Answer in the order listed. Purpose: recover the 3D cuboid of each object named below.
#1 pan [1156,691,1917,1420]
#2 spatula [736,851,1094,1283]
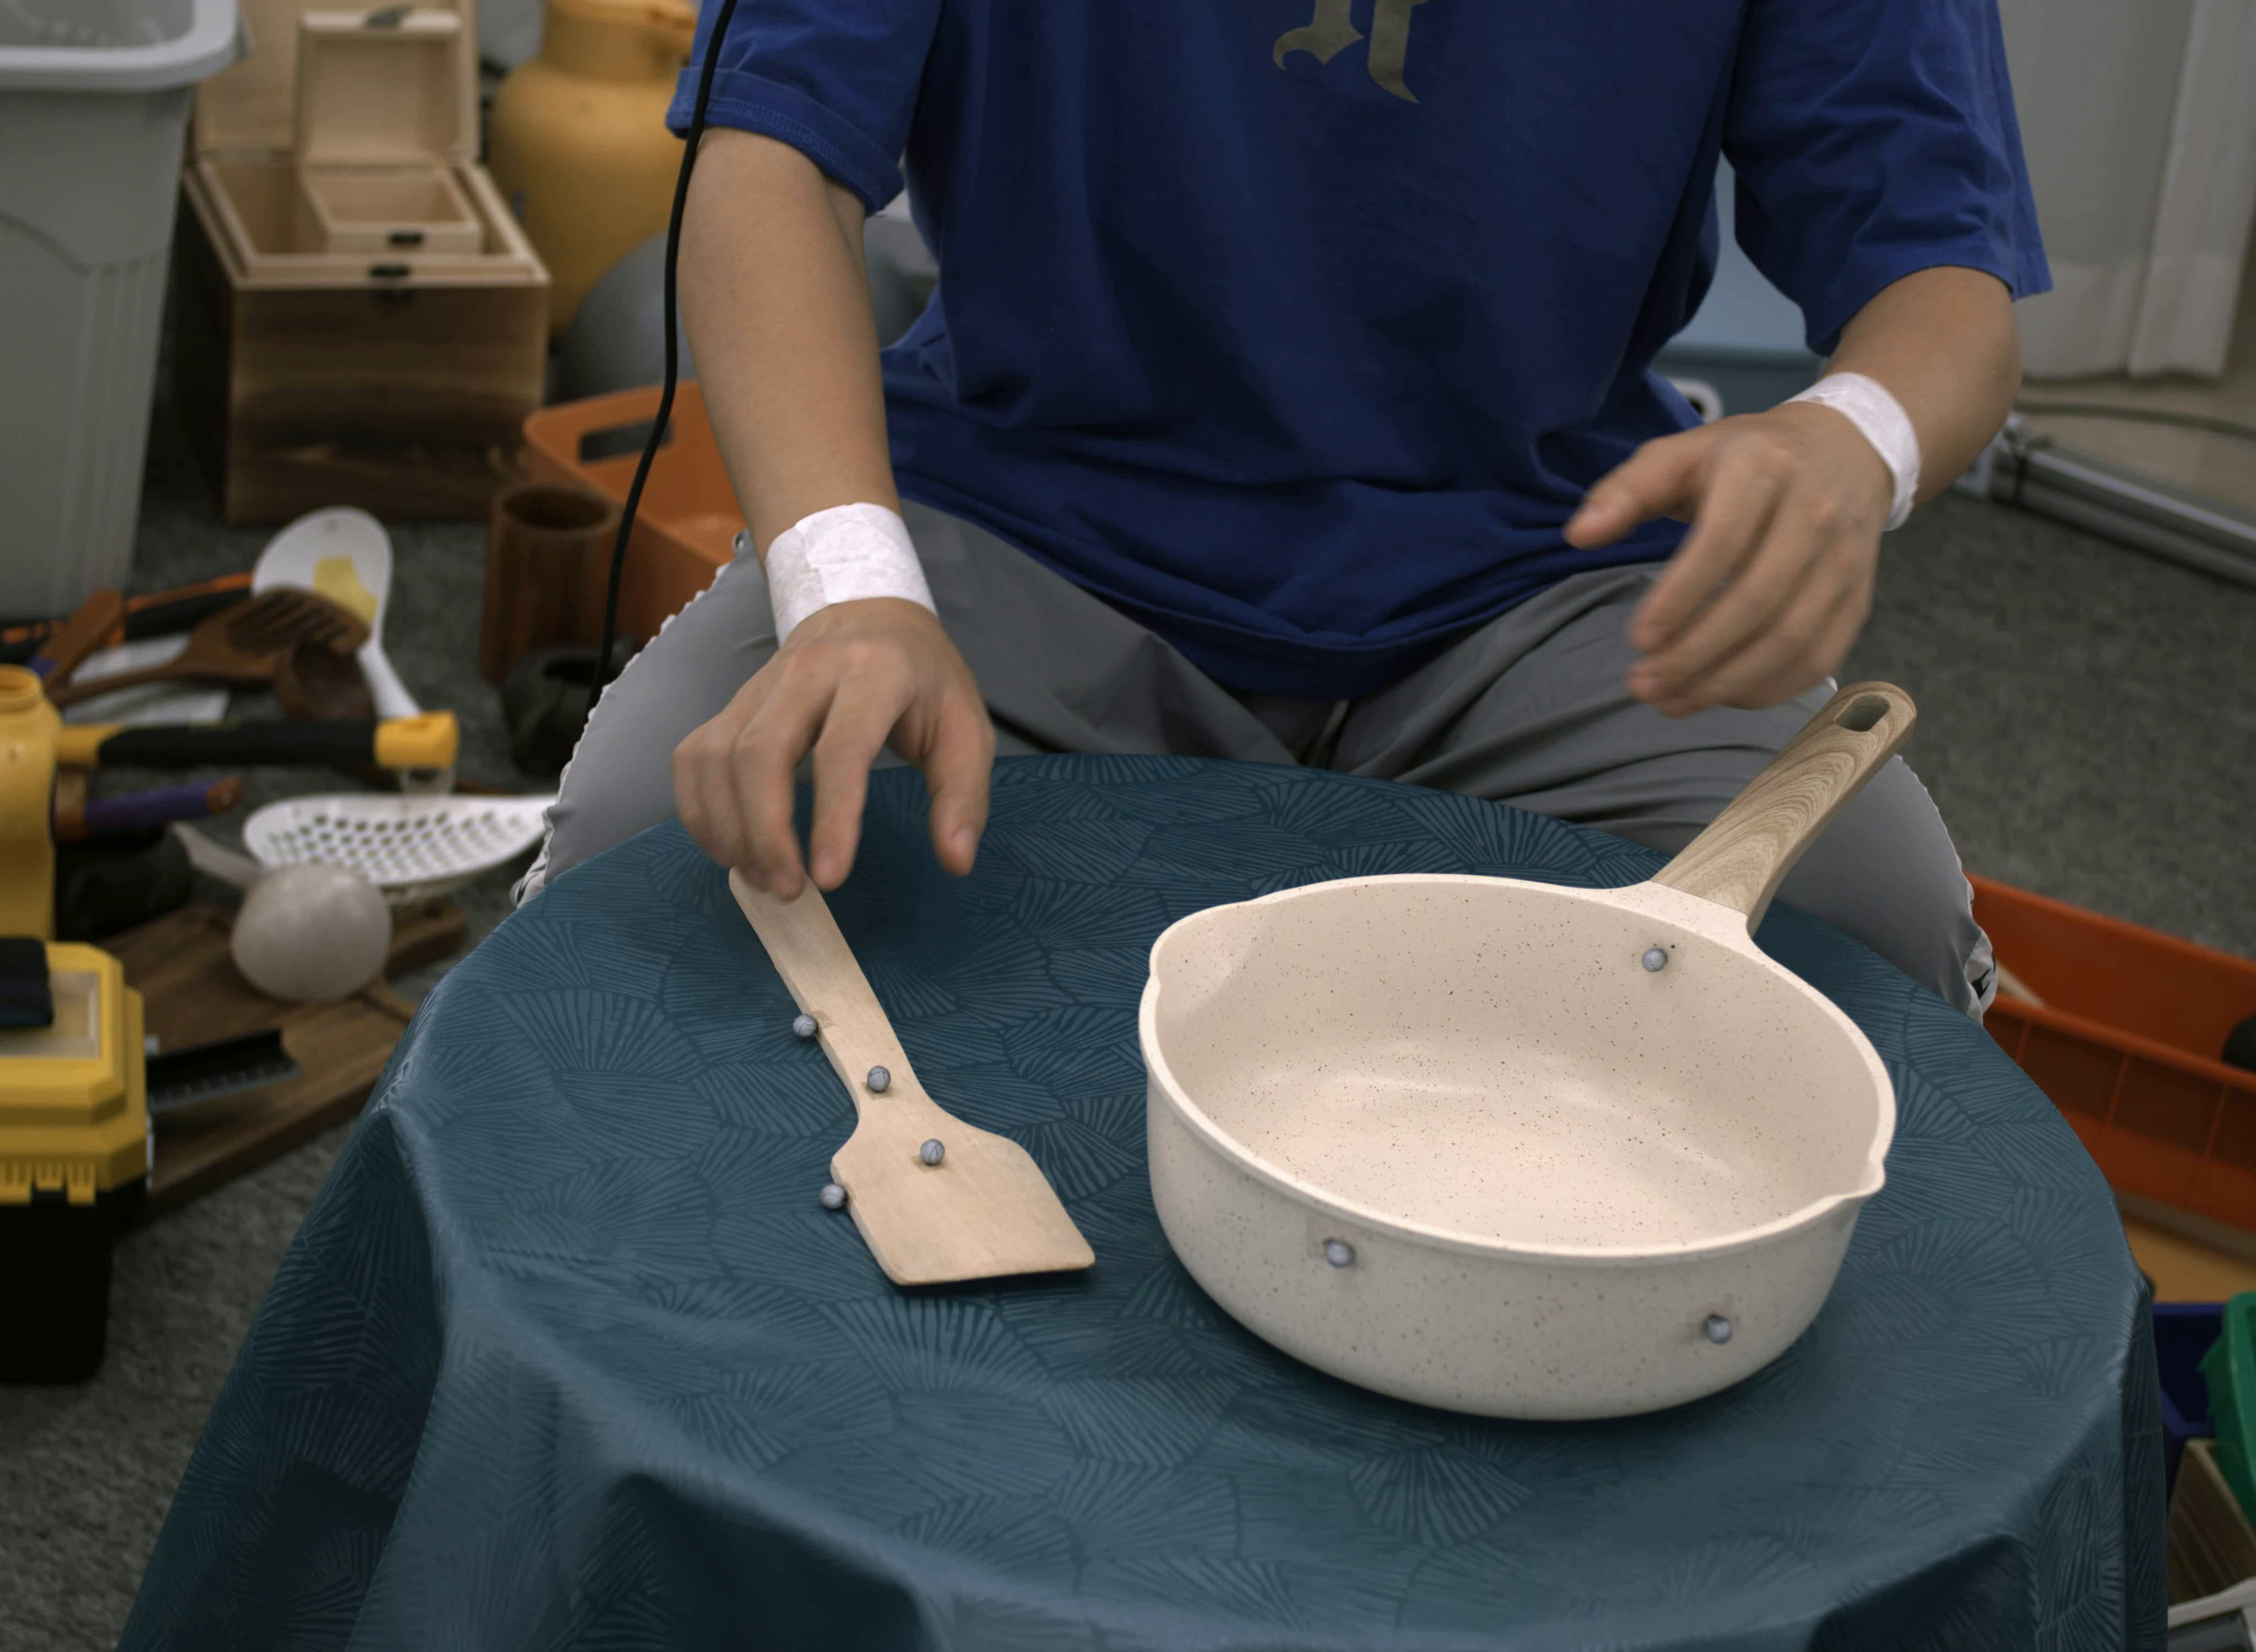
[{"bbox_3d":[0.174,0.072,1.835,0.264,0.101,0.434,17,28,24],"label":"pan"},{"bbox_3d":[-0.089,0.080,1.858,0.072,0.010,0.295,-5,29,-19],"label":"spatula"}]
